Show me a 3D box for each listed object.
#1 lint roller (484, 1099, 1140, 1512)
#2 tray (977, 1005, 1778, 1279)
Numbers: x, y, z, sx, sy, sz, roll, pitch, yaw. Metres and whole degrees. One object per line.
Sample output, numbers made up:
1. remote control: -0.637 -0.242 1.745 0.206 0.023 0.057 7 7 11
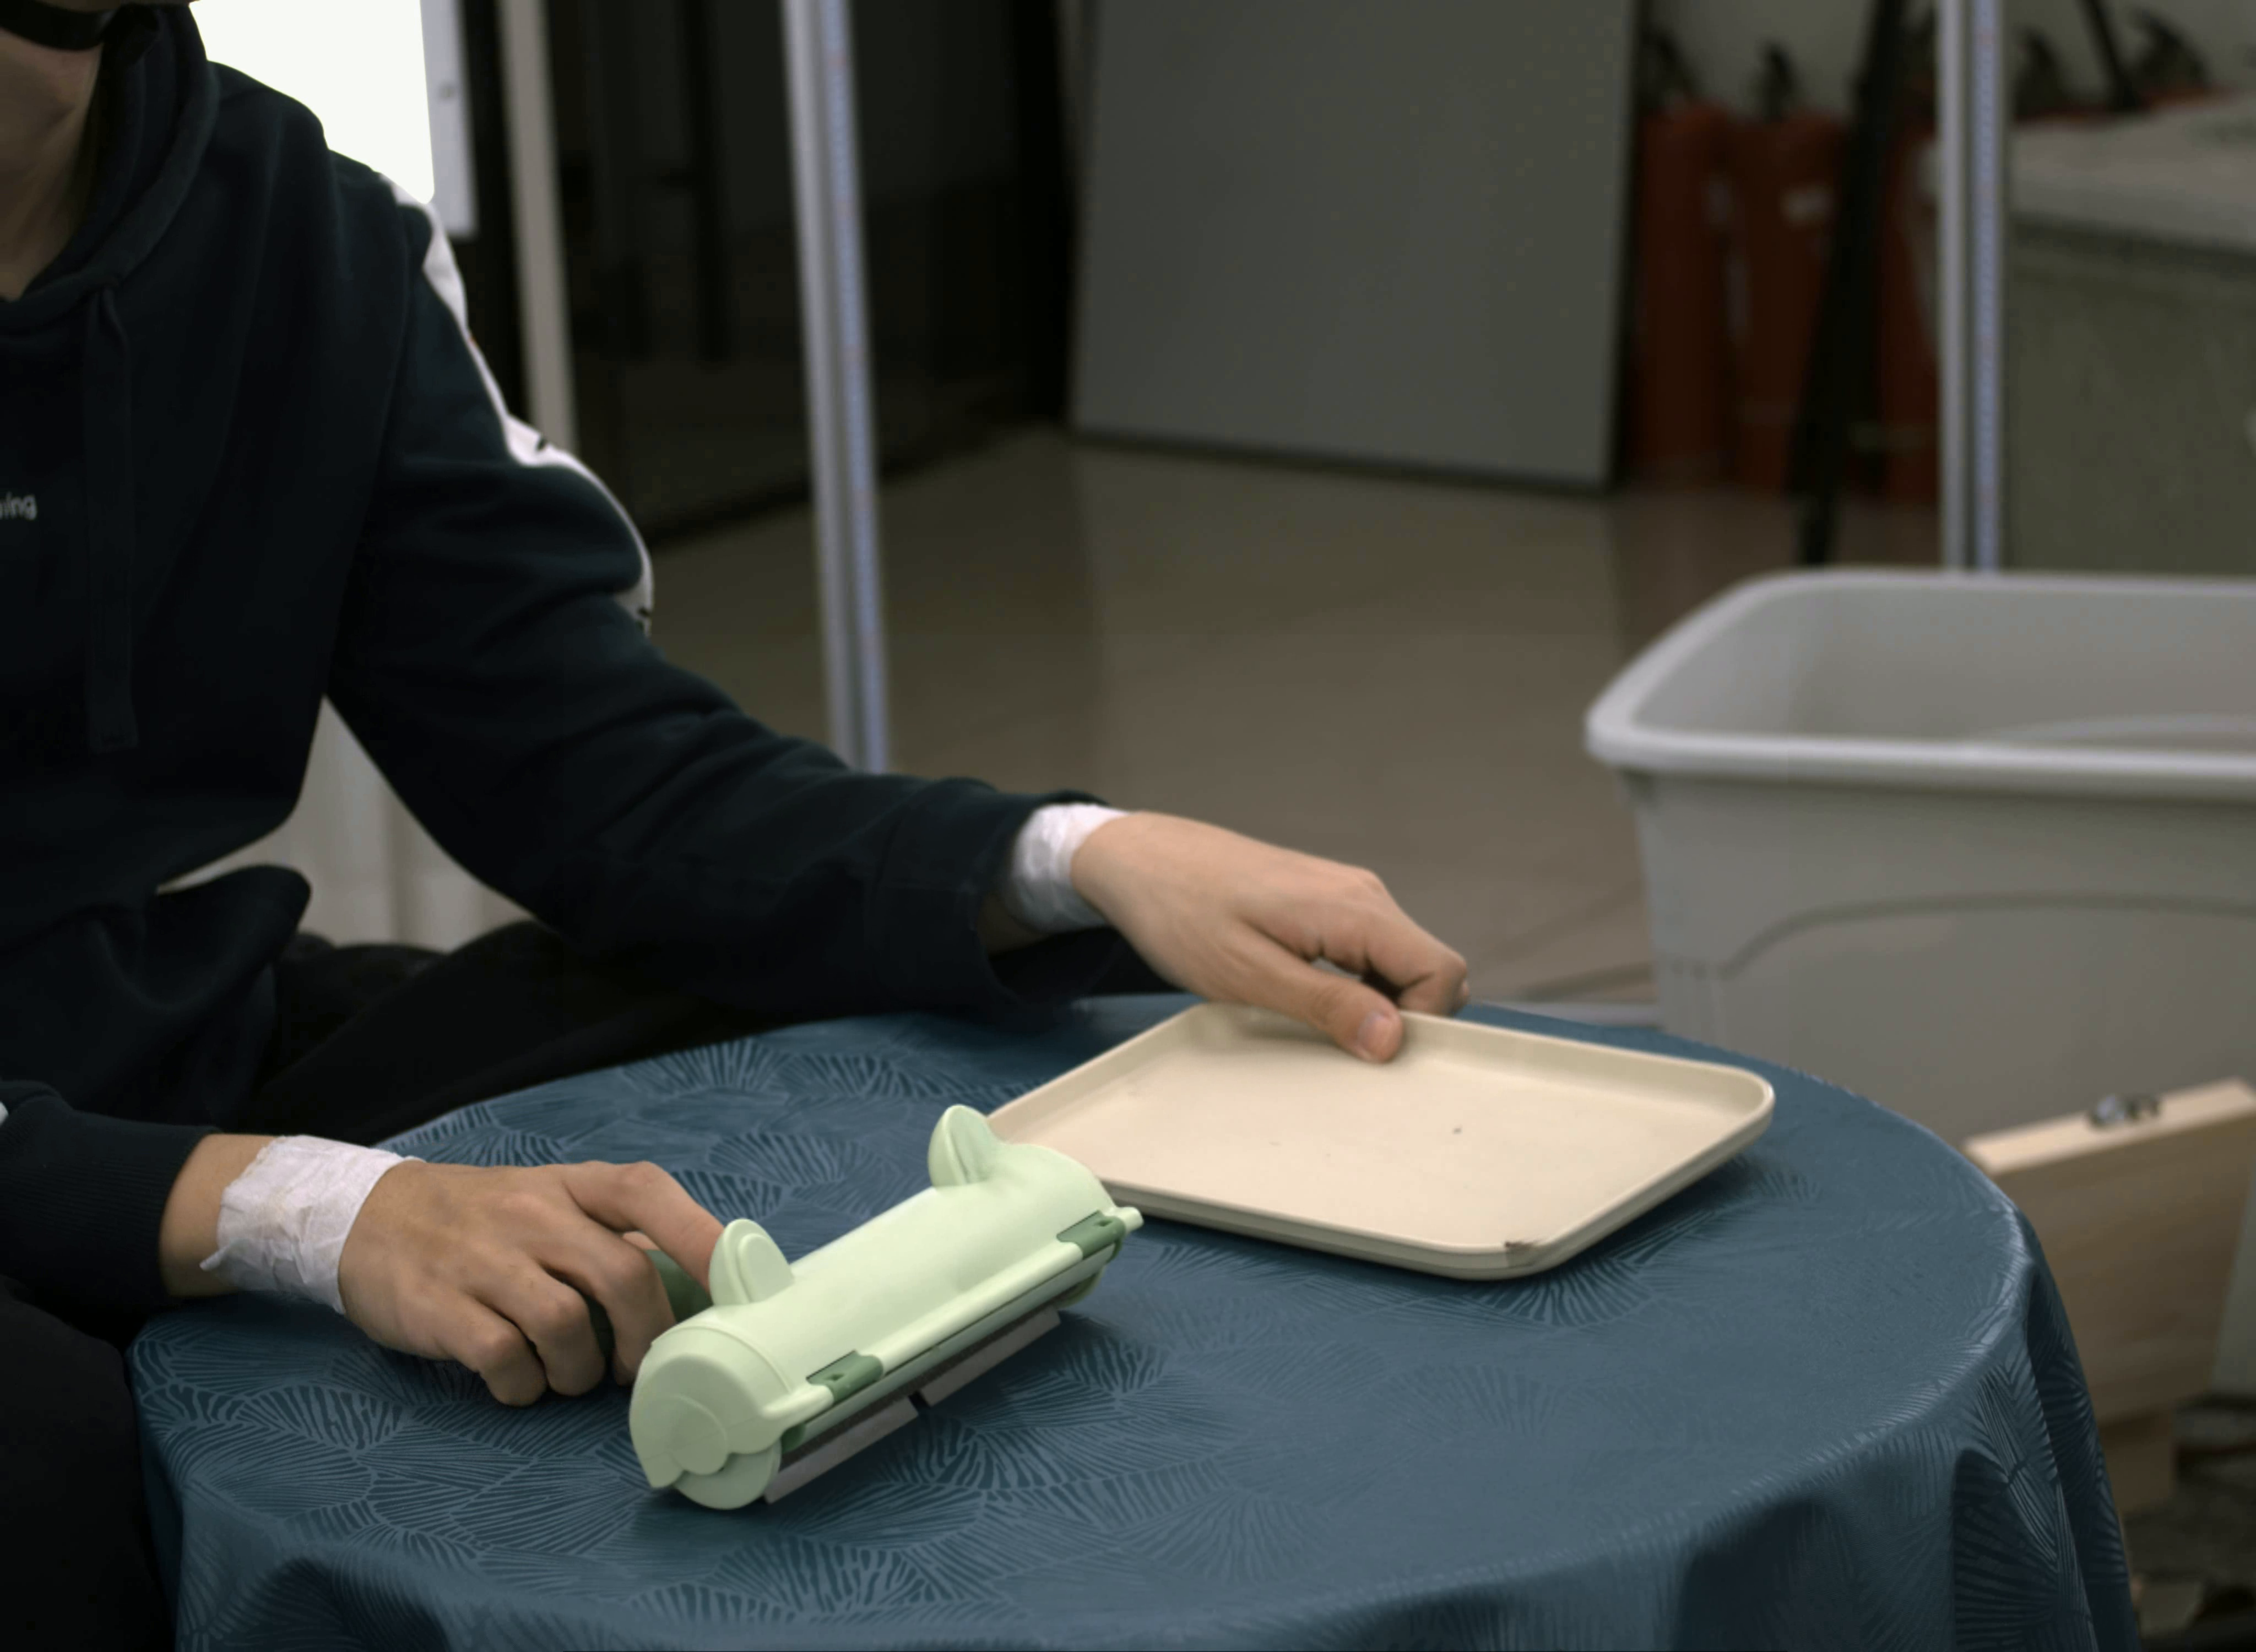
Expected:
1. lint roller: -0.119 0.130 1.609 0.184 0.083 0.195 9 19 31
2. tray: 0.081 0.103 1.769 0.241 0.017 0.168 8 20 39
